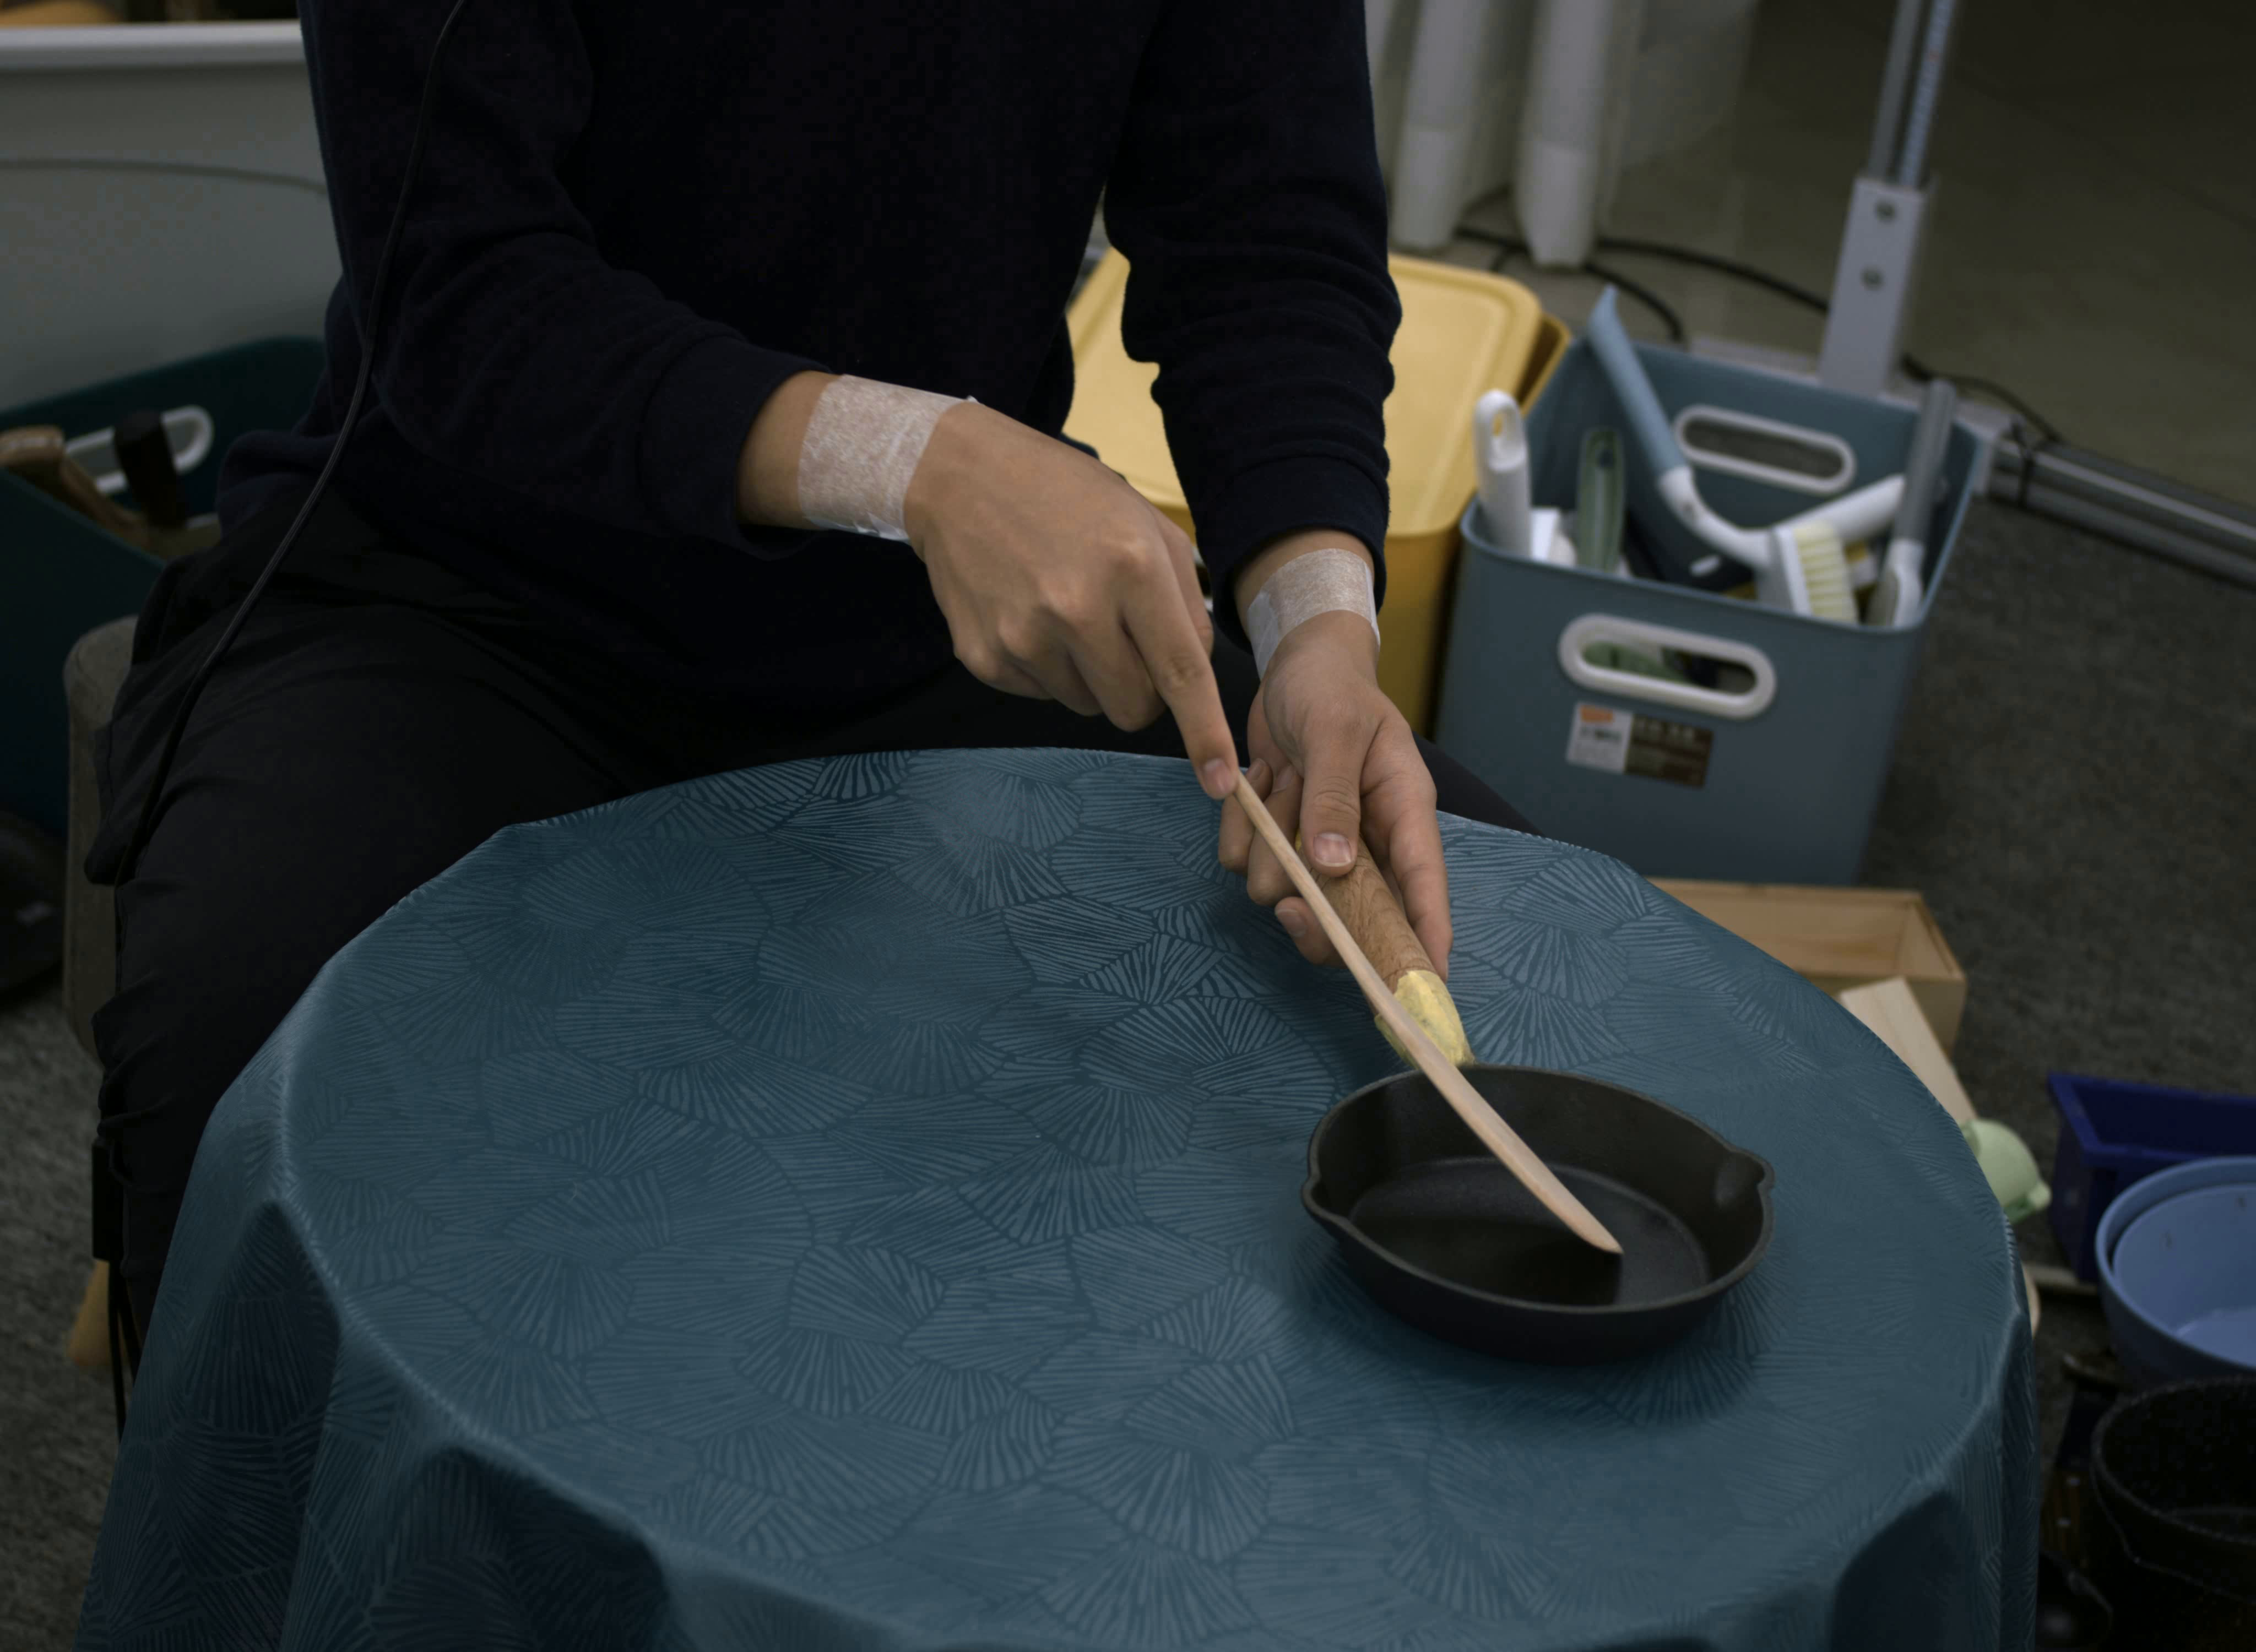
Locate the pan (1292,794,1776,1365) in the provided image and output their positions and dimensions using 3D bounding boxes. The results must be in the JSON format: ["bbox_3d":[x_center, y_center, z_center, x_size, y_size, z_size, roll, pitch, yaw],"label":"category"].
[{"bbox_3d":[0.114,0.085,1.847,0.168,0.049,0.327,-2,30,-17],"label":"pan"}]

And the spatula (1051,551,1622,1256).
[{"bbox_3d":[0.069,0.026,1.820,0.330,0.016,0.079,54,6,22],"label":"spatula"}]
